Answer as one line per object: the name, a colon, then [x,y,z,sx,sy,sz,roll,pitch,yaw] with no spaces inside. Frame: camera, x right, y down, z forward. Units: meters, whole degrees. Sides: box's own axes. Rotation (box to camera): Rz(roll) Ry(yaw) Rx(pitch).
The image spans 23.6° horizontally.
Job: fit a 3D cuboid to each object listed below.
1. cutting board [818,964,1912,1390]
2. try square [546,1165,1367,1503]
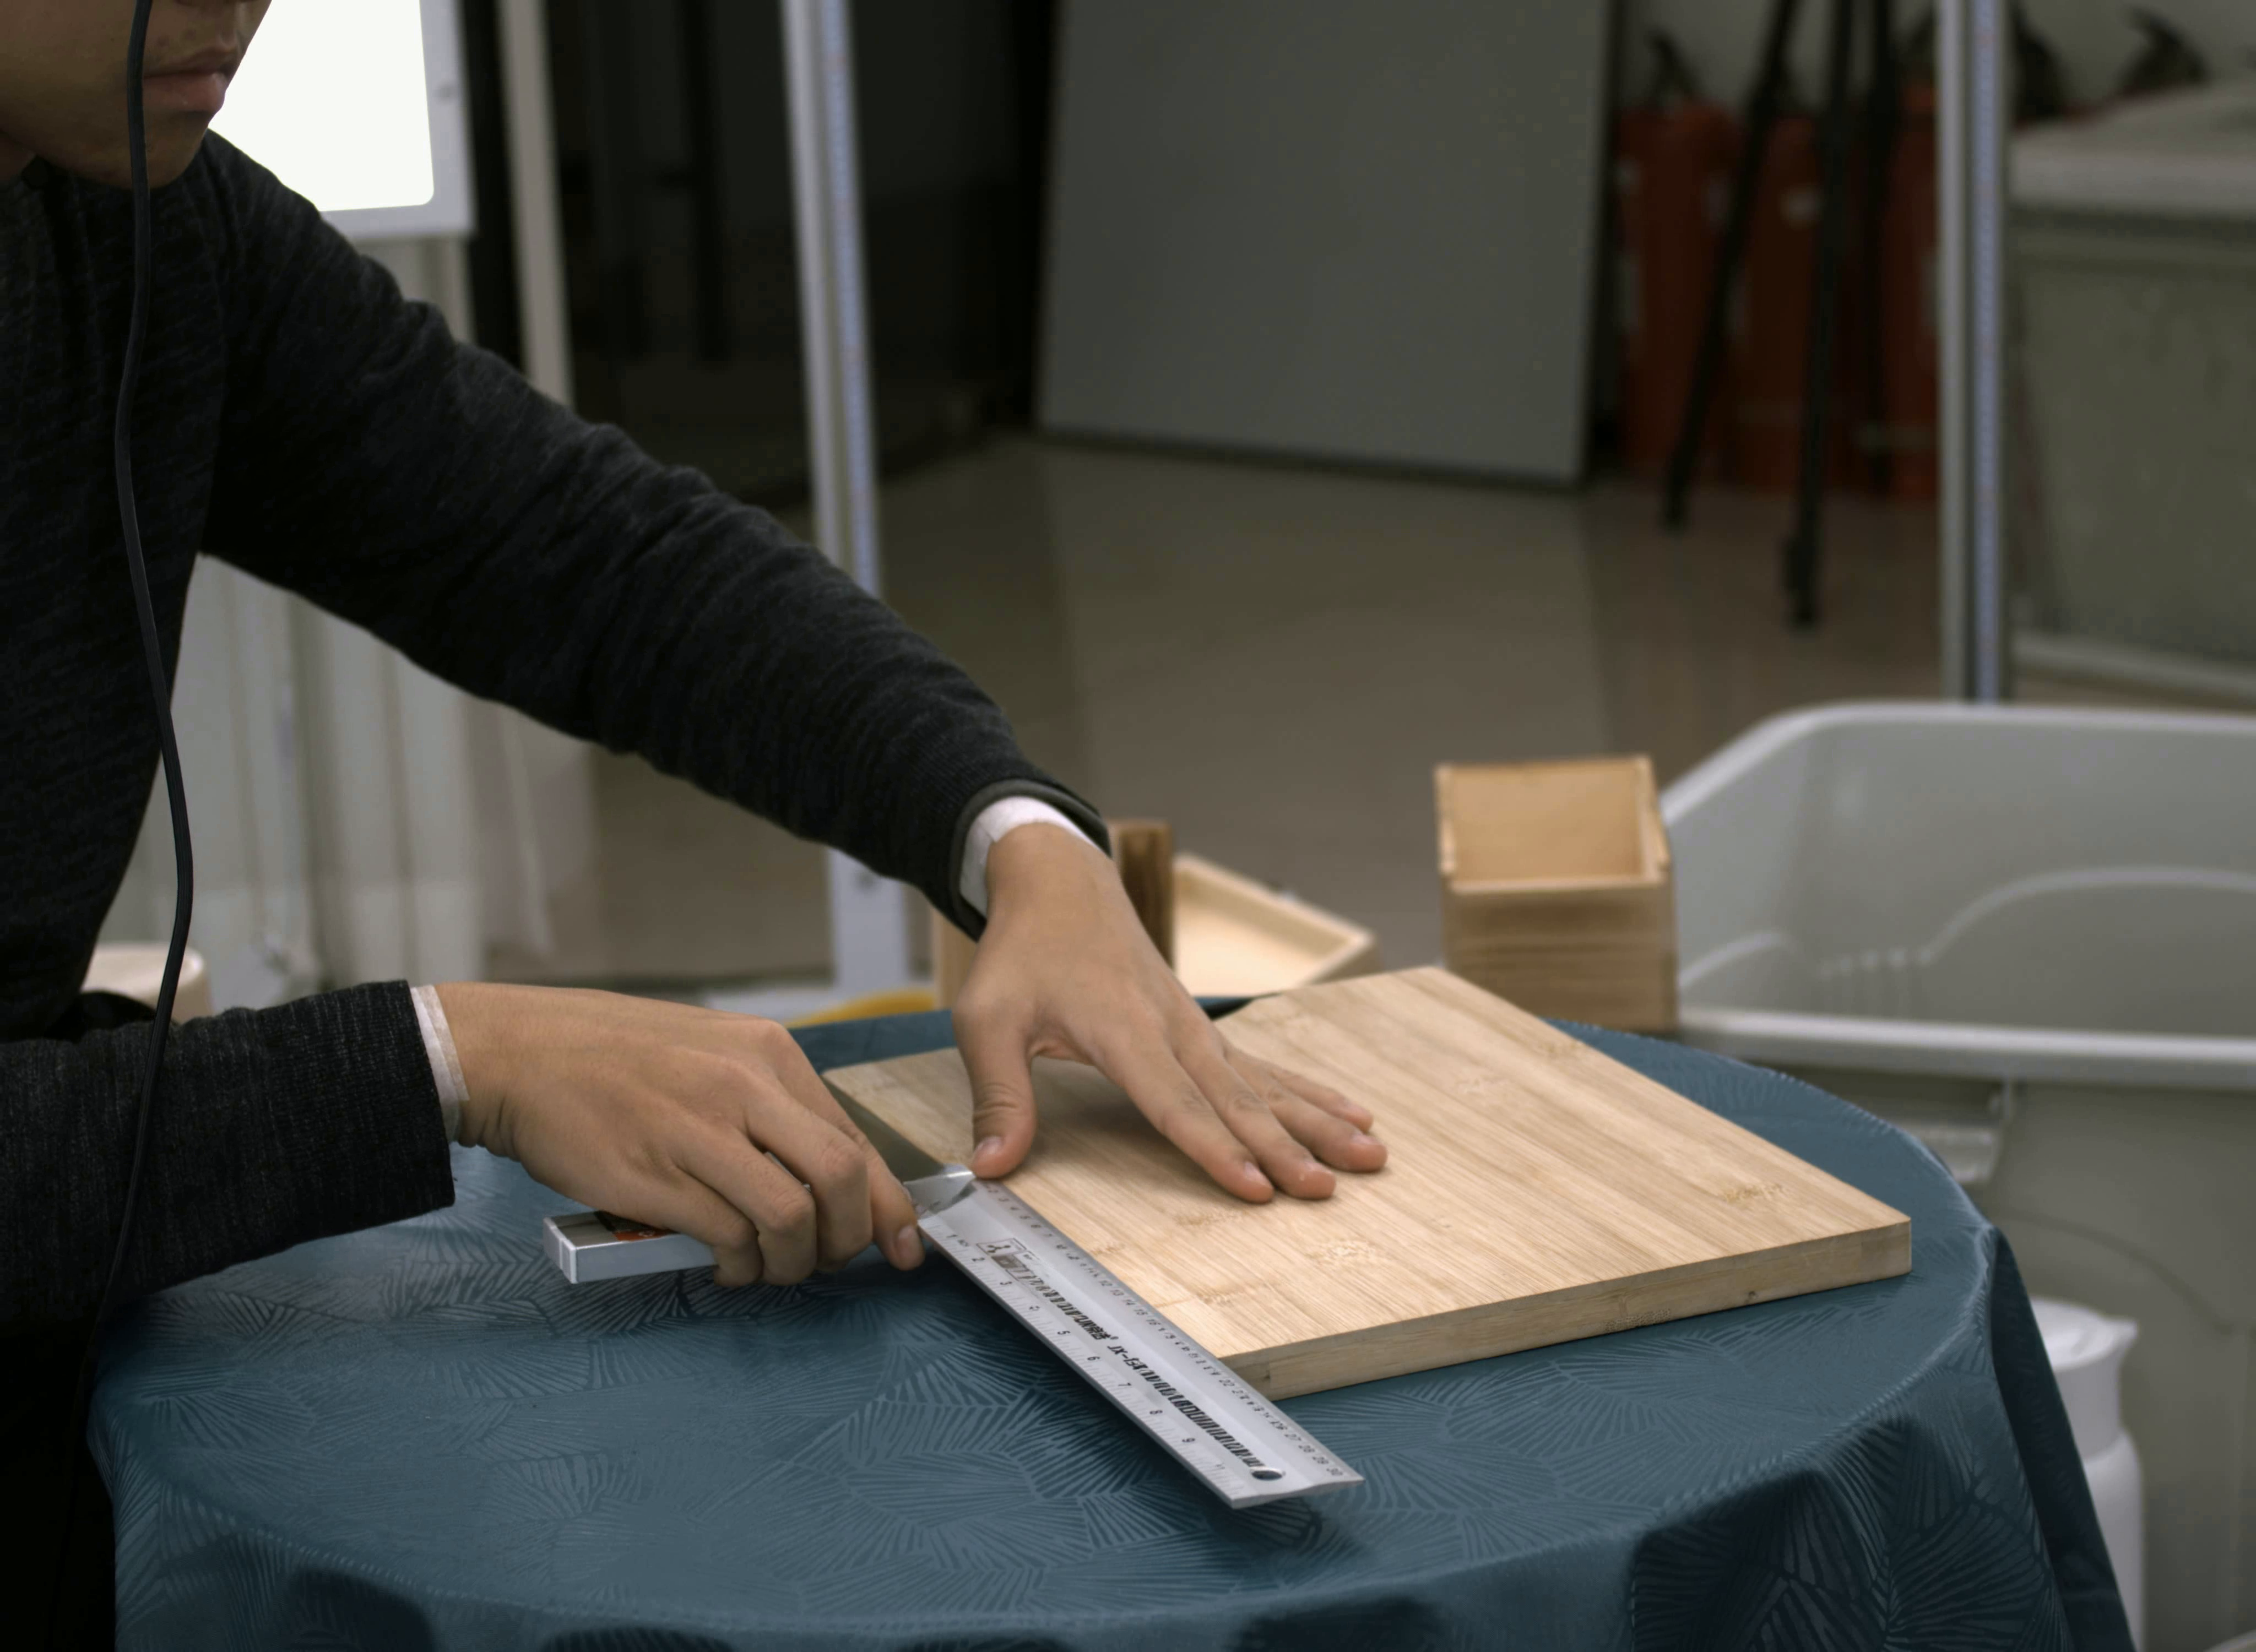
cutting board: [0.066,0.111,1.758,0.245,0.024,0.352,-9,15,-21]
try square: [-0.058,0.154,1.574,0.149,0.016,0.316,-9,14,-19]
